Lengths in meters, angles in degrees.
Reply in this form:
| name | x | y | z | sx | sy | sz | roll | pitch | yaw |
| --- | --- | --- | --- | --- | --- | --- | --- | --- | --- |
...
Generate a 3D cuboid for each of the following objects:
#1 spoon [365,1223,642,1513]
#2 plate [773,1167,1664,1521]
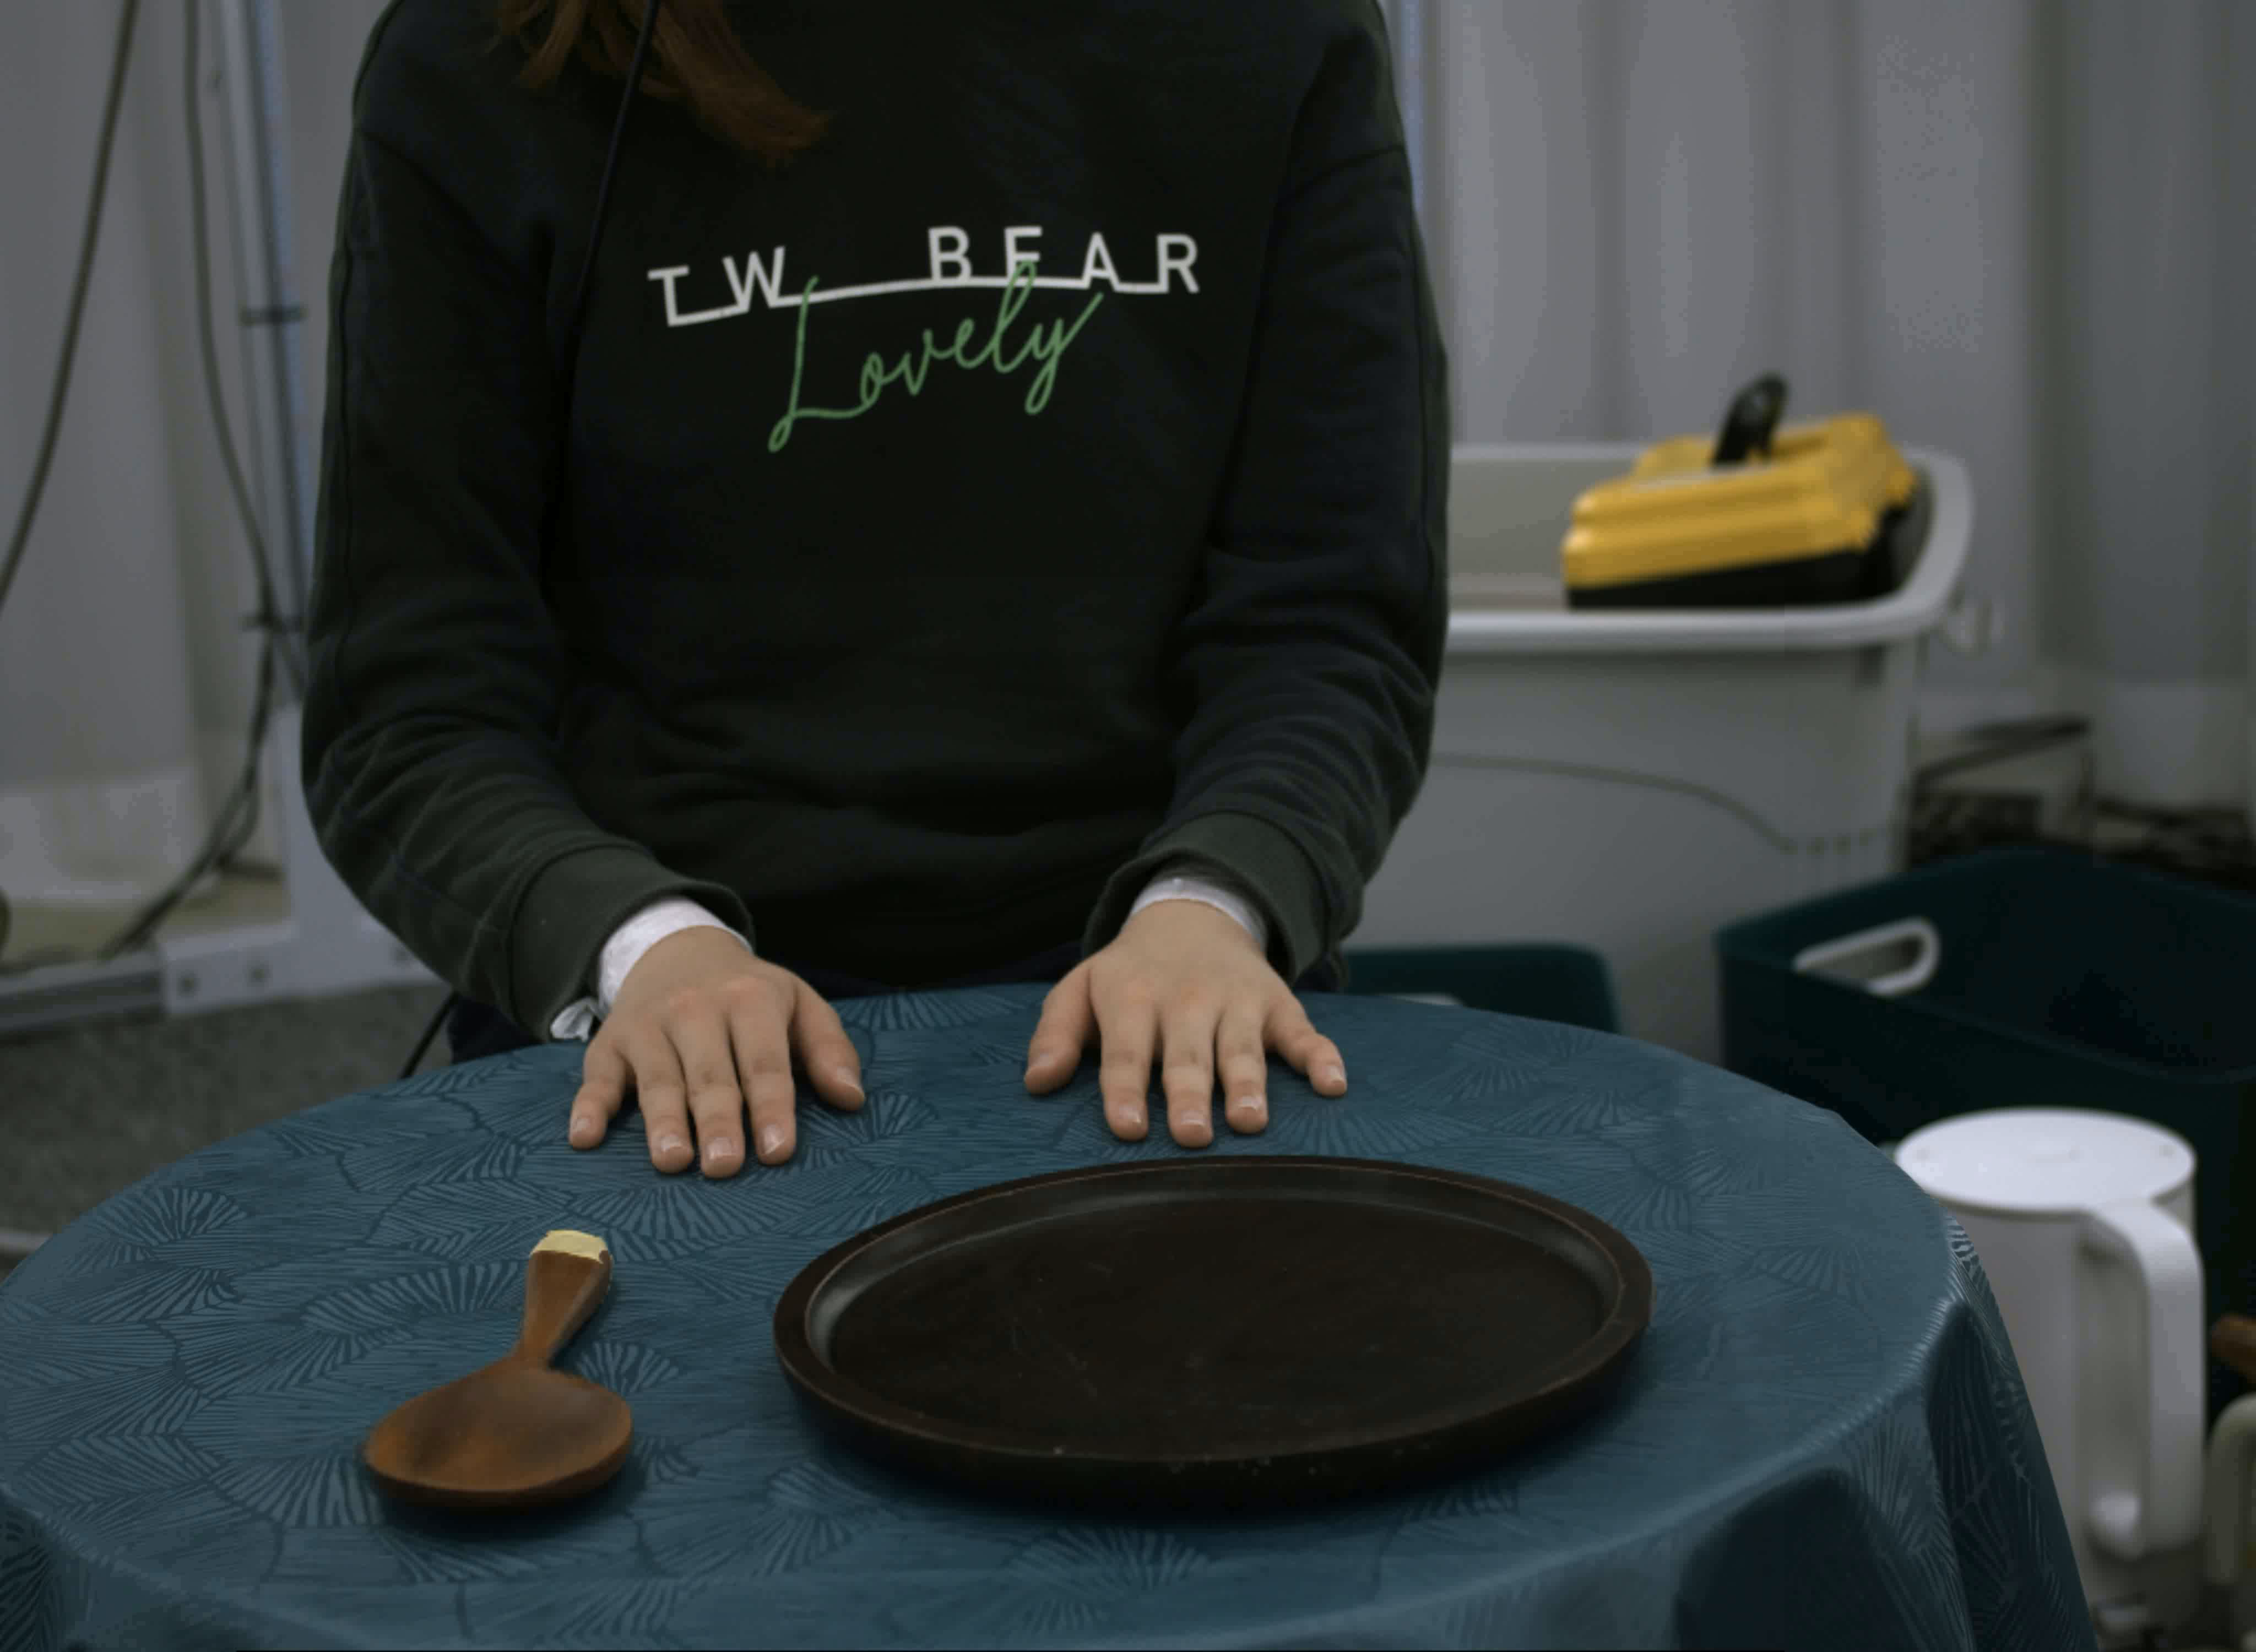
| name | x | y | z | sx | sy | sz | roll | pitch | yaw |
| --- | --- | --- | --- | --- | --- | --- | --- | --- | --- |
| spoon | -0.170 | 0.156 | 1.559 | 0.075 | 0.017 | 0.217 | -3 | 15 | 2 |
| plate | 0.025 | 0.144 | 1.557 | 0.254 | 0.029 | 0.256 | -2 | 16 | 0 |
